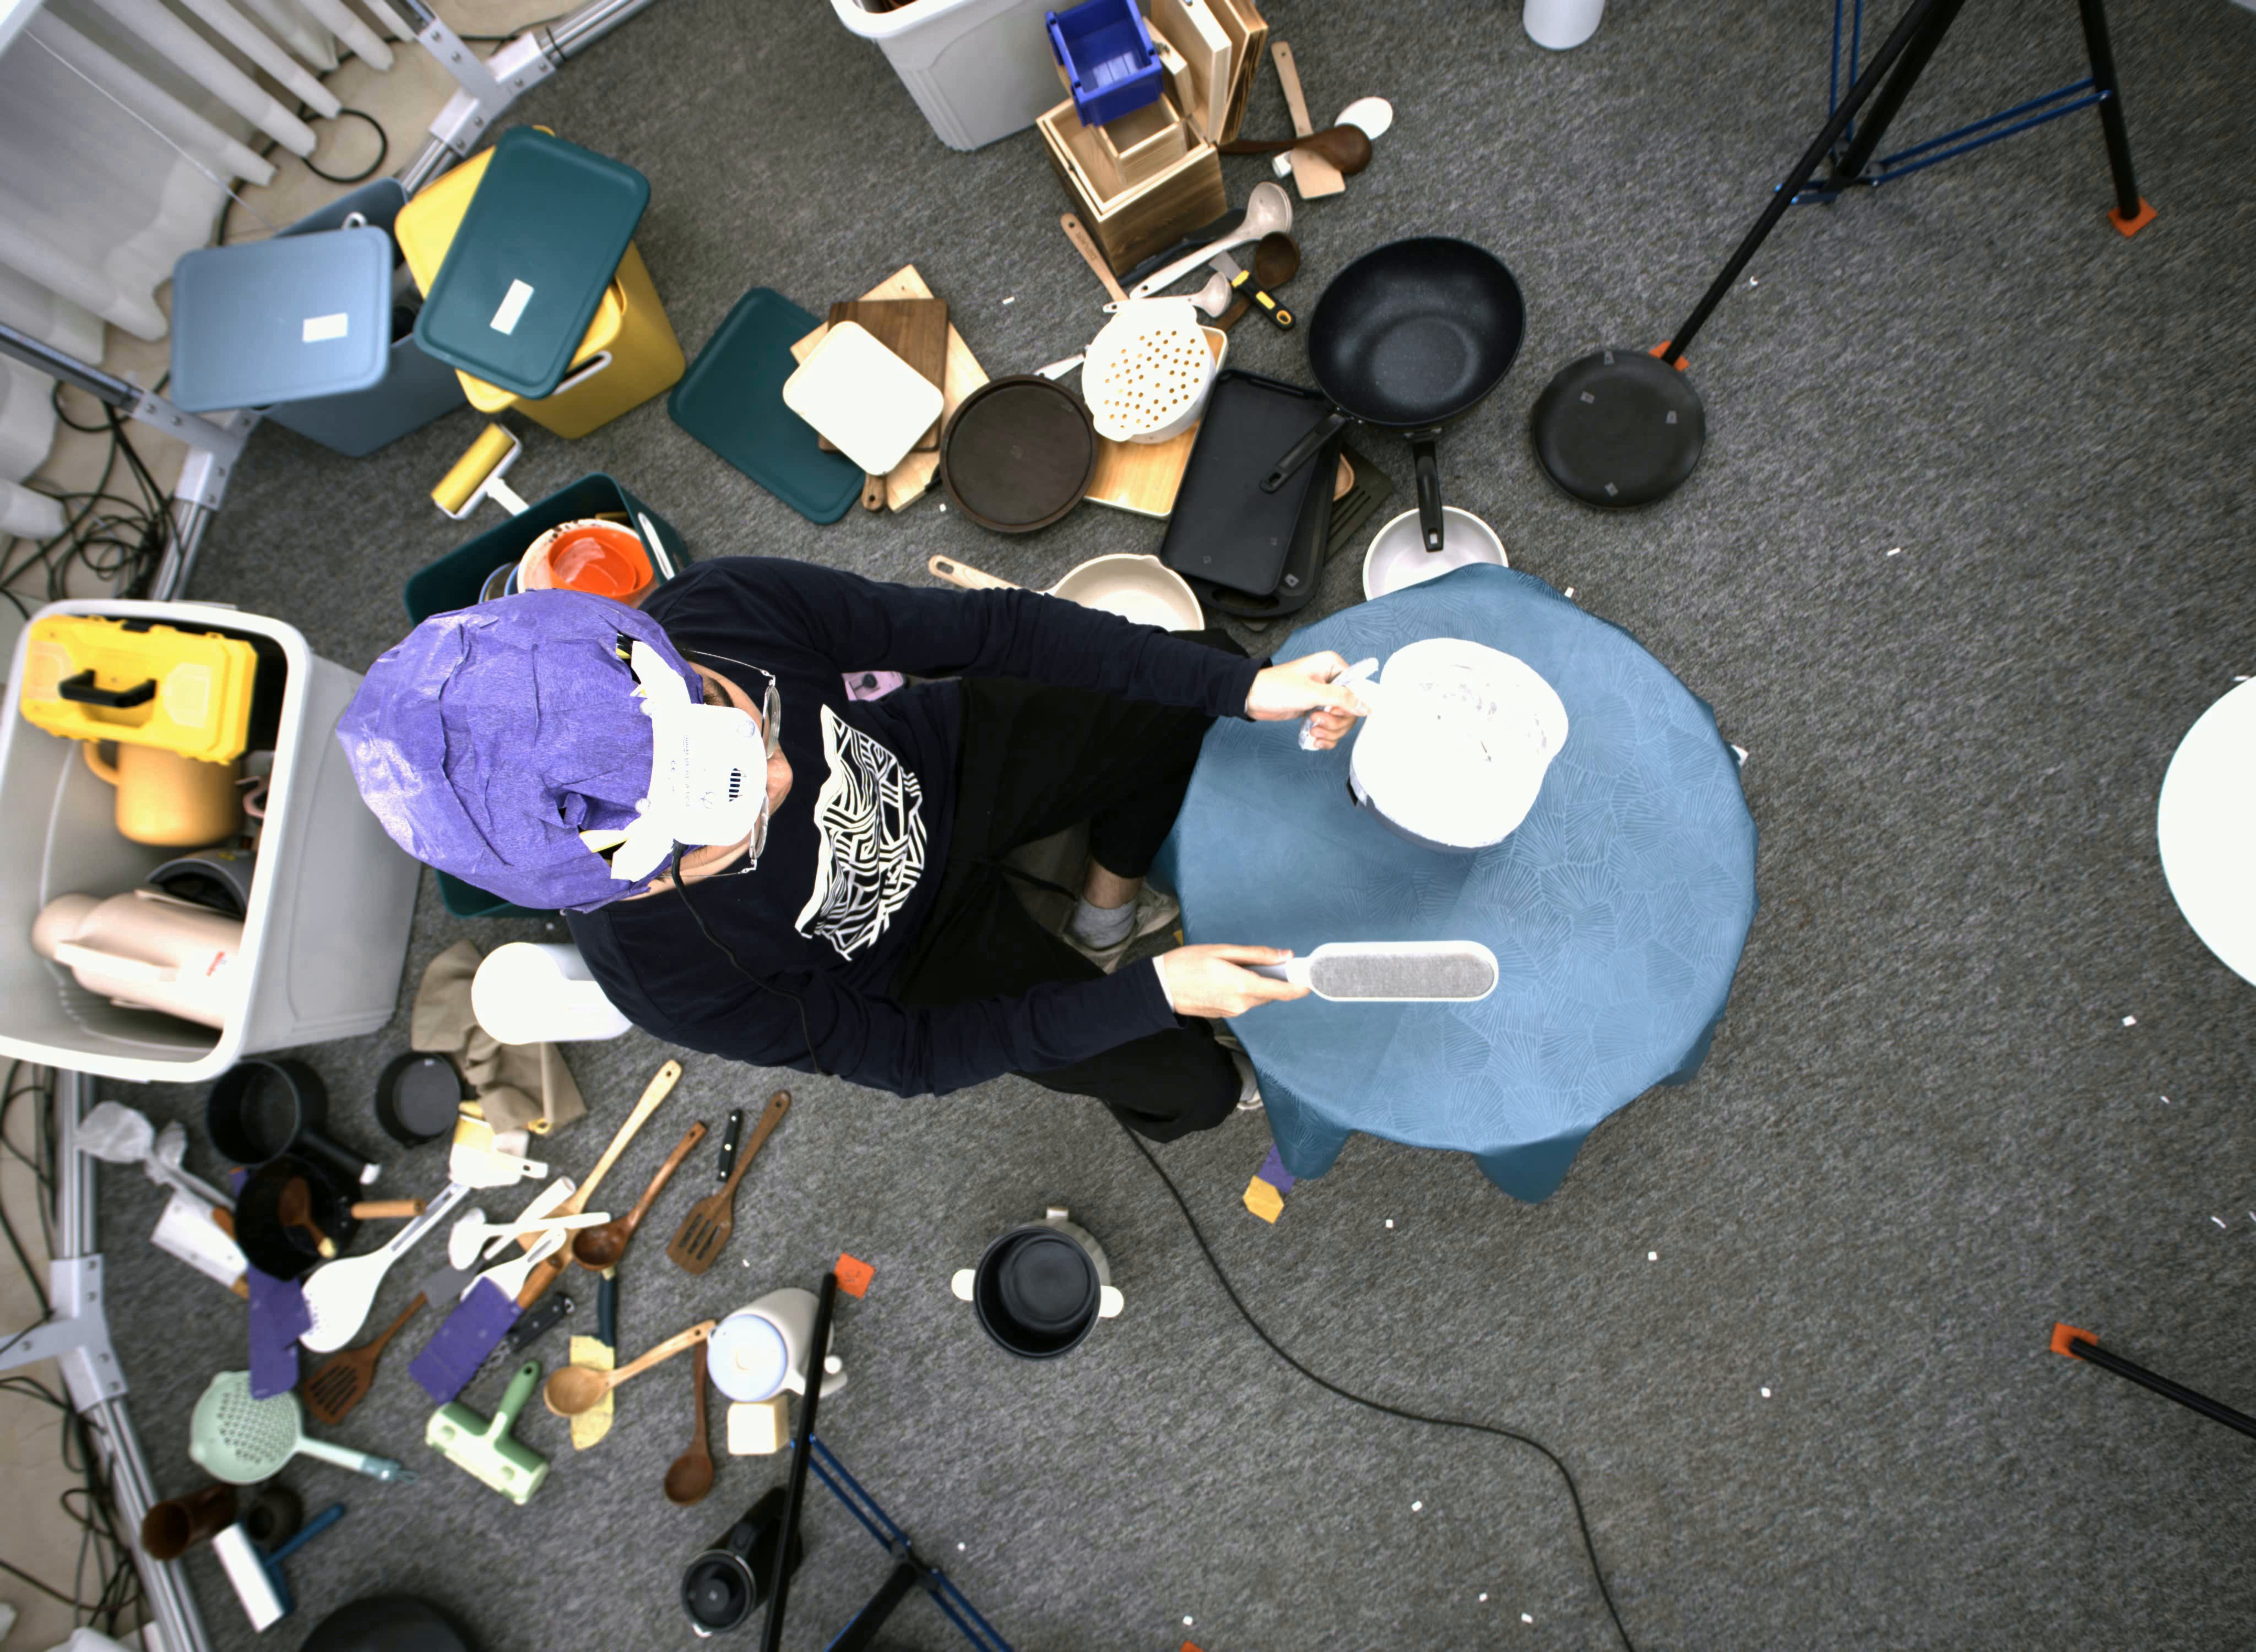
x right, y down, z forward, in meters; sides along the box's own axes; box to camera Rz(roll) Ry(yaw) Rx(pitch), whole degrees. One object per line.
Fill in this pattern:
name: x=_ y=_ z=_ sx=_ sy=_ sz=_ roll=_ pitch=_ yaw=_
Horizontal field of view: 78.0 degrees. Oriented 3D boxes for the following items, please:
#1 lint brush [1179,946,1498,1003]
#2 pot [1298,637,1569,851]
lint brush: x=0.197 y=0.140 z=1.324 sx=0.311 sy=0.020 sz=0.061 roll=-2 pitch=117 yaw=20
pot: x=0.282 y=-0.086 z=1.303 sx=0.234 sy=0.174 sz=0.140 roll=20 pitch=135 yaw=6
